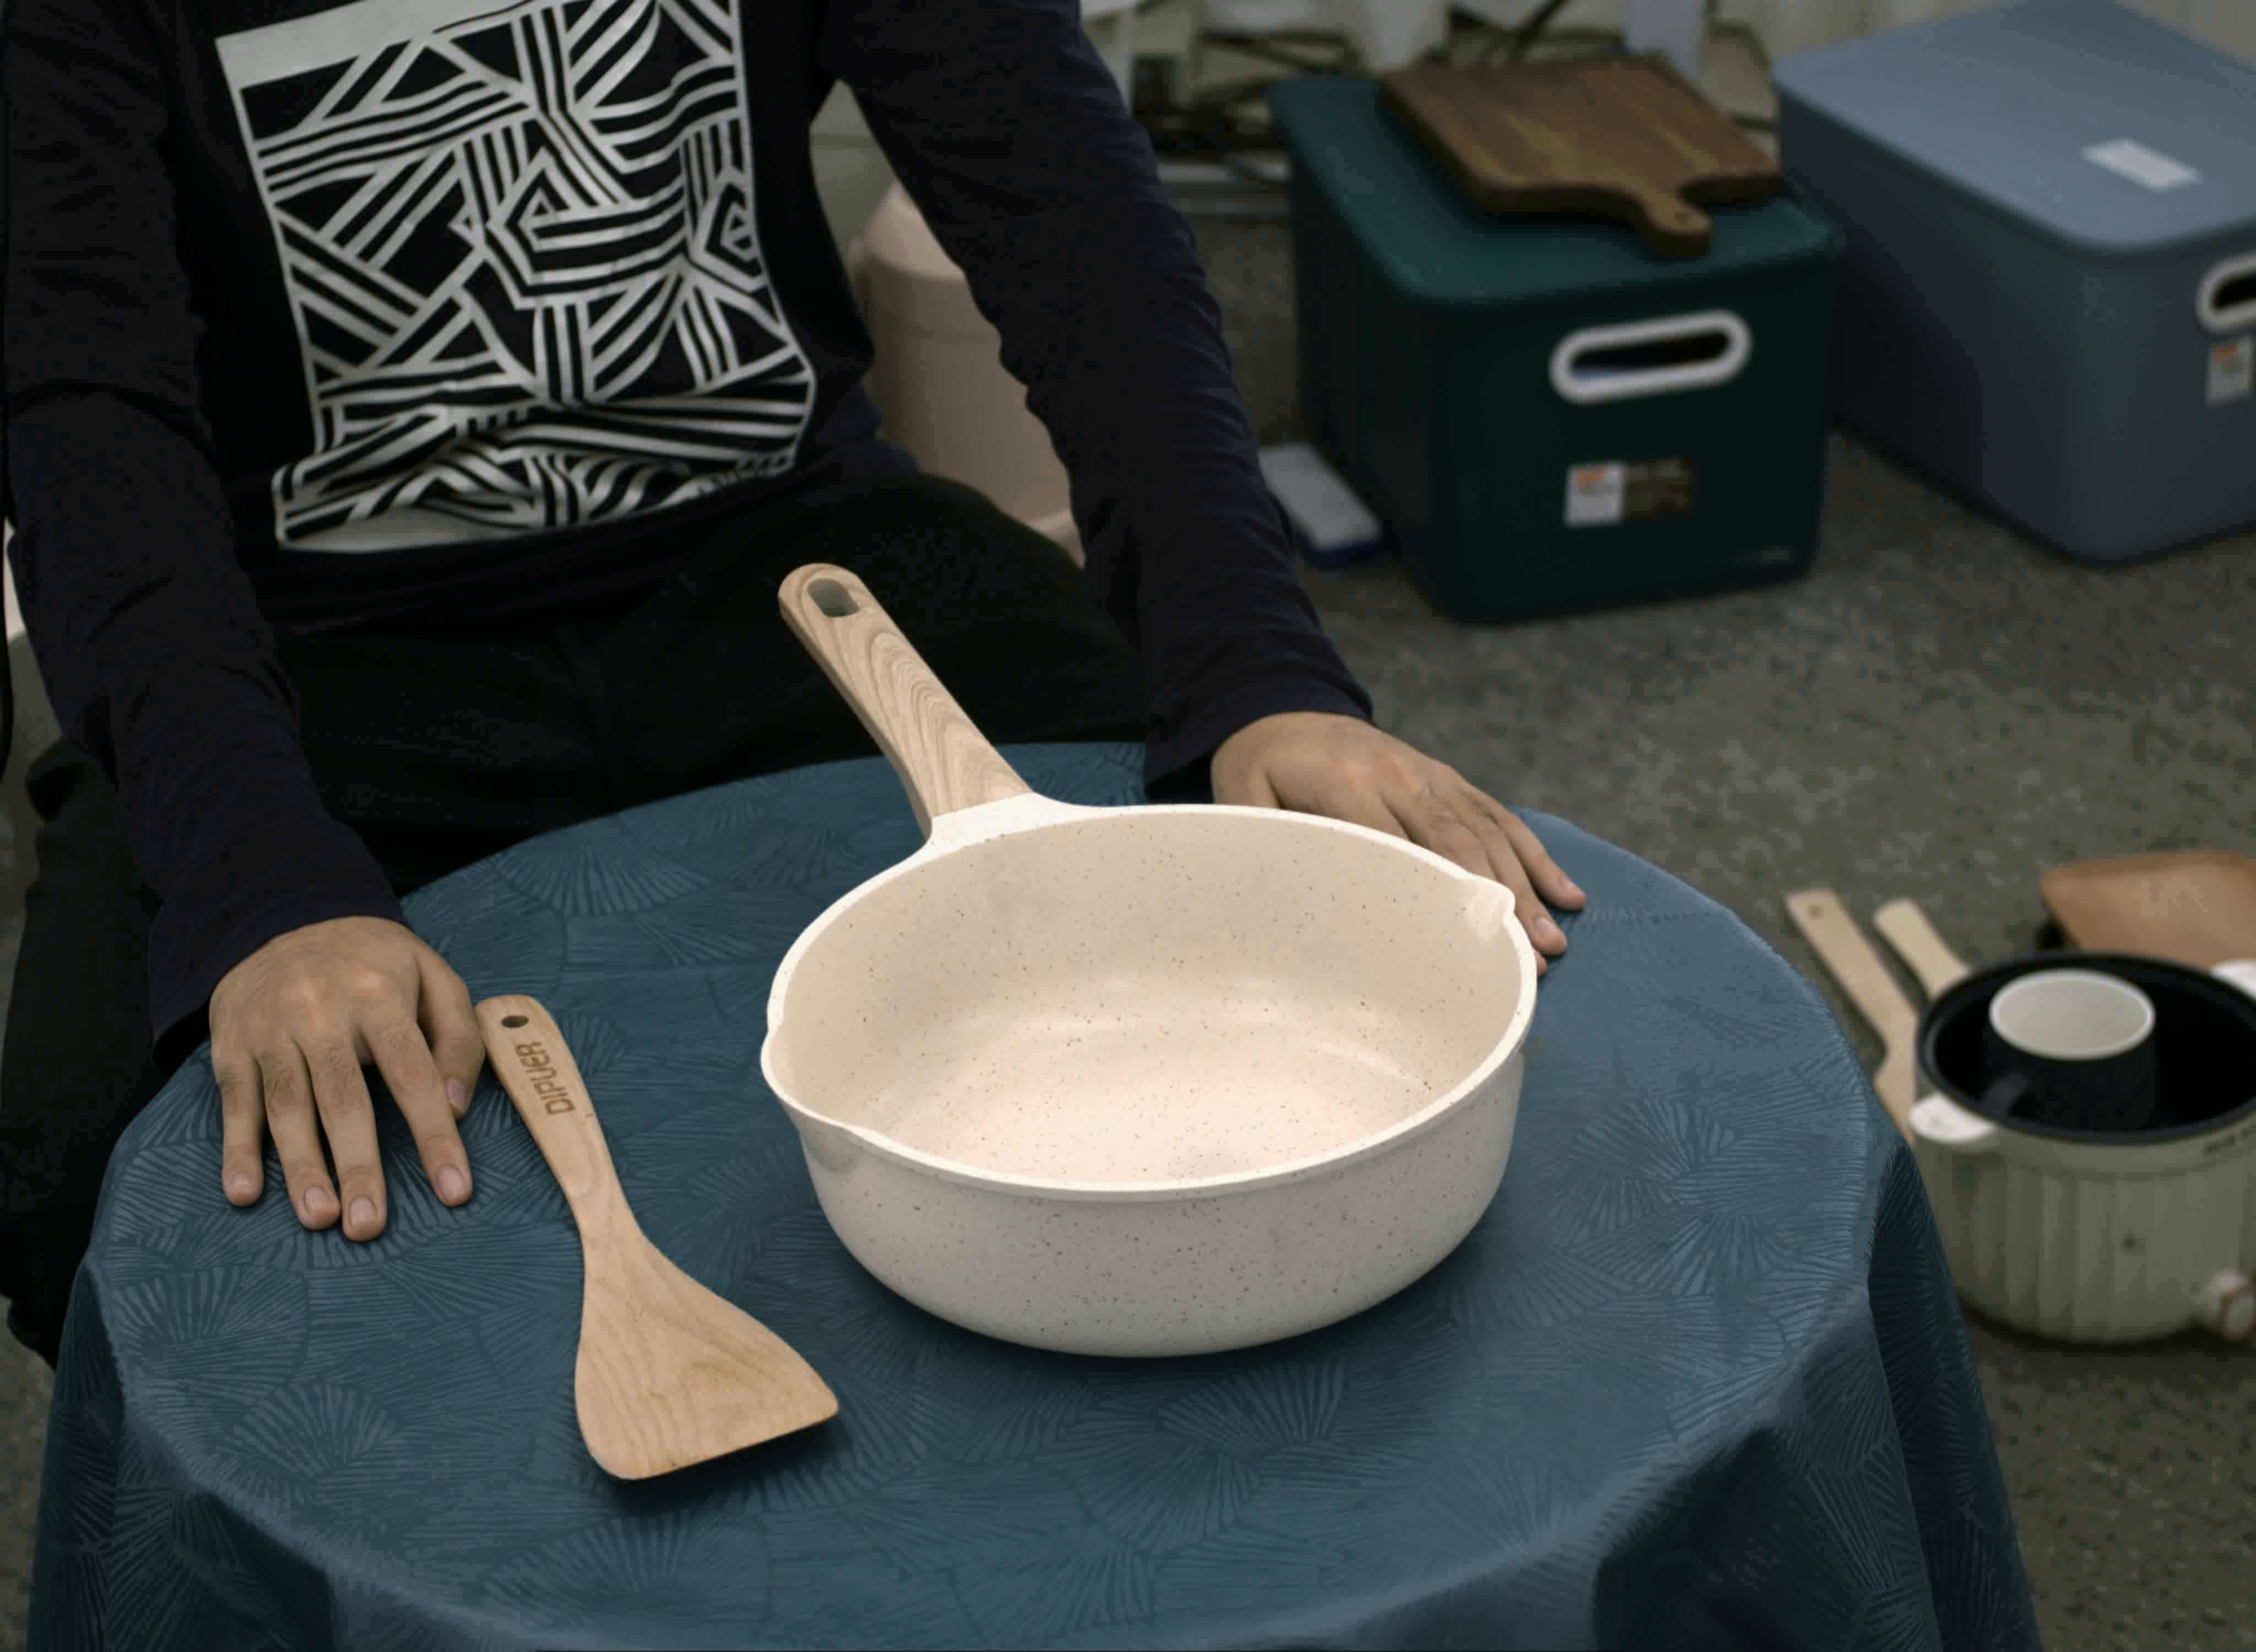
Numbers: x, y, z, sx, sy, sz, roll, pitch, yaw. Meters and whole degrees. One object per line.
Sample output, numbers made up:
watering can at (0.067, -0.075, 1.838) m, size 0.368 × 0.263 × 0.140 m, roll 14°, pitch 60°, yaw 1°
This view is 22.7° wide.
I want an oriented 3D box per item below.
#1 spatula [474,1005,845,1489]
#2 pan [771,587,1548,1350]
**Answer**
spatula at (-0.170, 0.132, 1.852) m, size 0.080 × 0.016 × 0.330 m, roll -11°, pitch 28°, yaw -15°
pan at (-0.025, 0.042, 1.919) m, size 0.264 × 0.101 × 0.437 m, roll -15°, pitch 29°, yaw -20°
